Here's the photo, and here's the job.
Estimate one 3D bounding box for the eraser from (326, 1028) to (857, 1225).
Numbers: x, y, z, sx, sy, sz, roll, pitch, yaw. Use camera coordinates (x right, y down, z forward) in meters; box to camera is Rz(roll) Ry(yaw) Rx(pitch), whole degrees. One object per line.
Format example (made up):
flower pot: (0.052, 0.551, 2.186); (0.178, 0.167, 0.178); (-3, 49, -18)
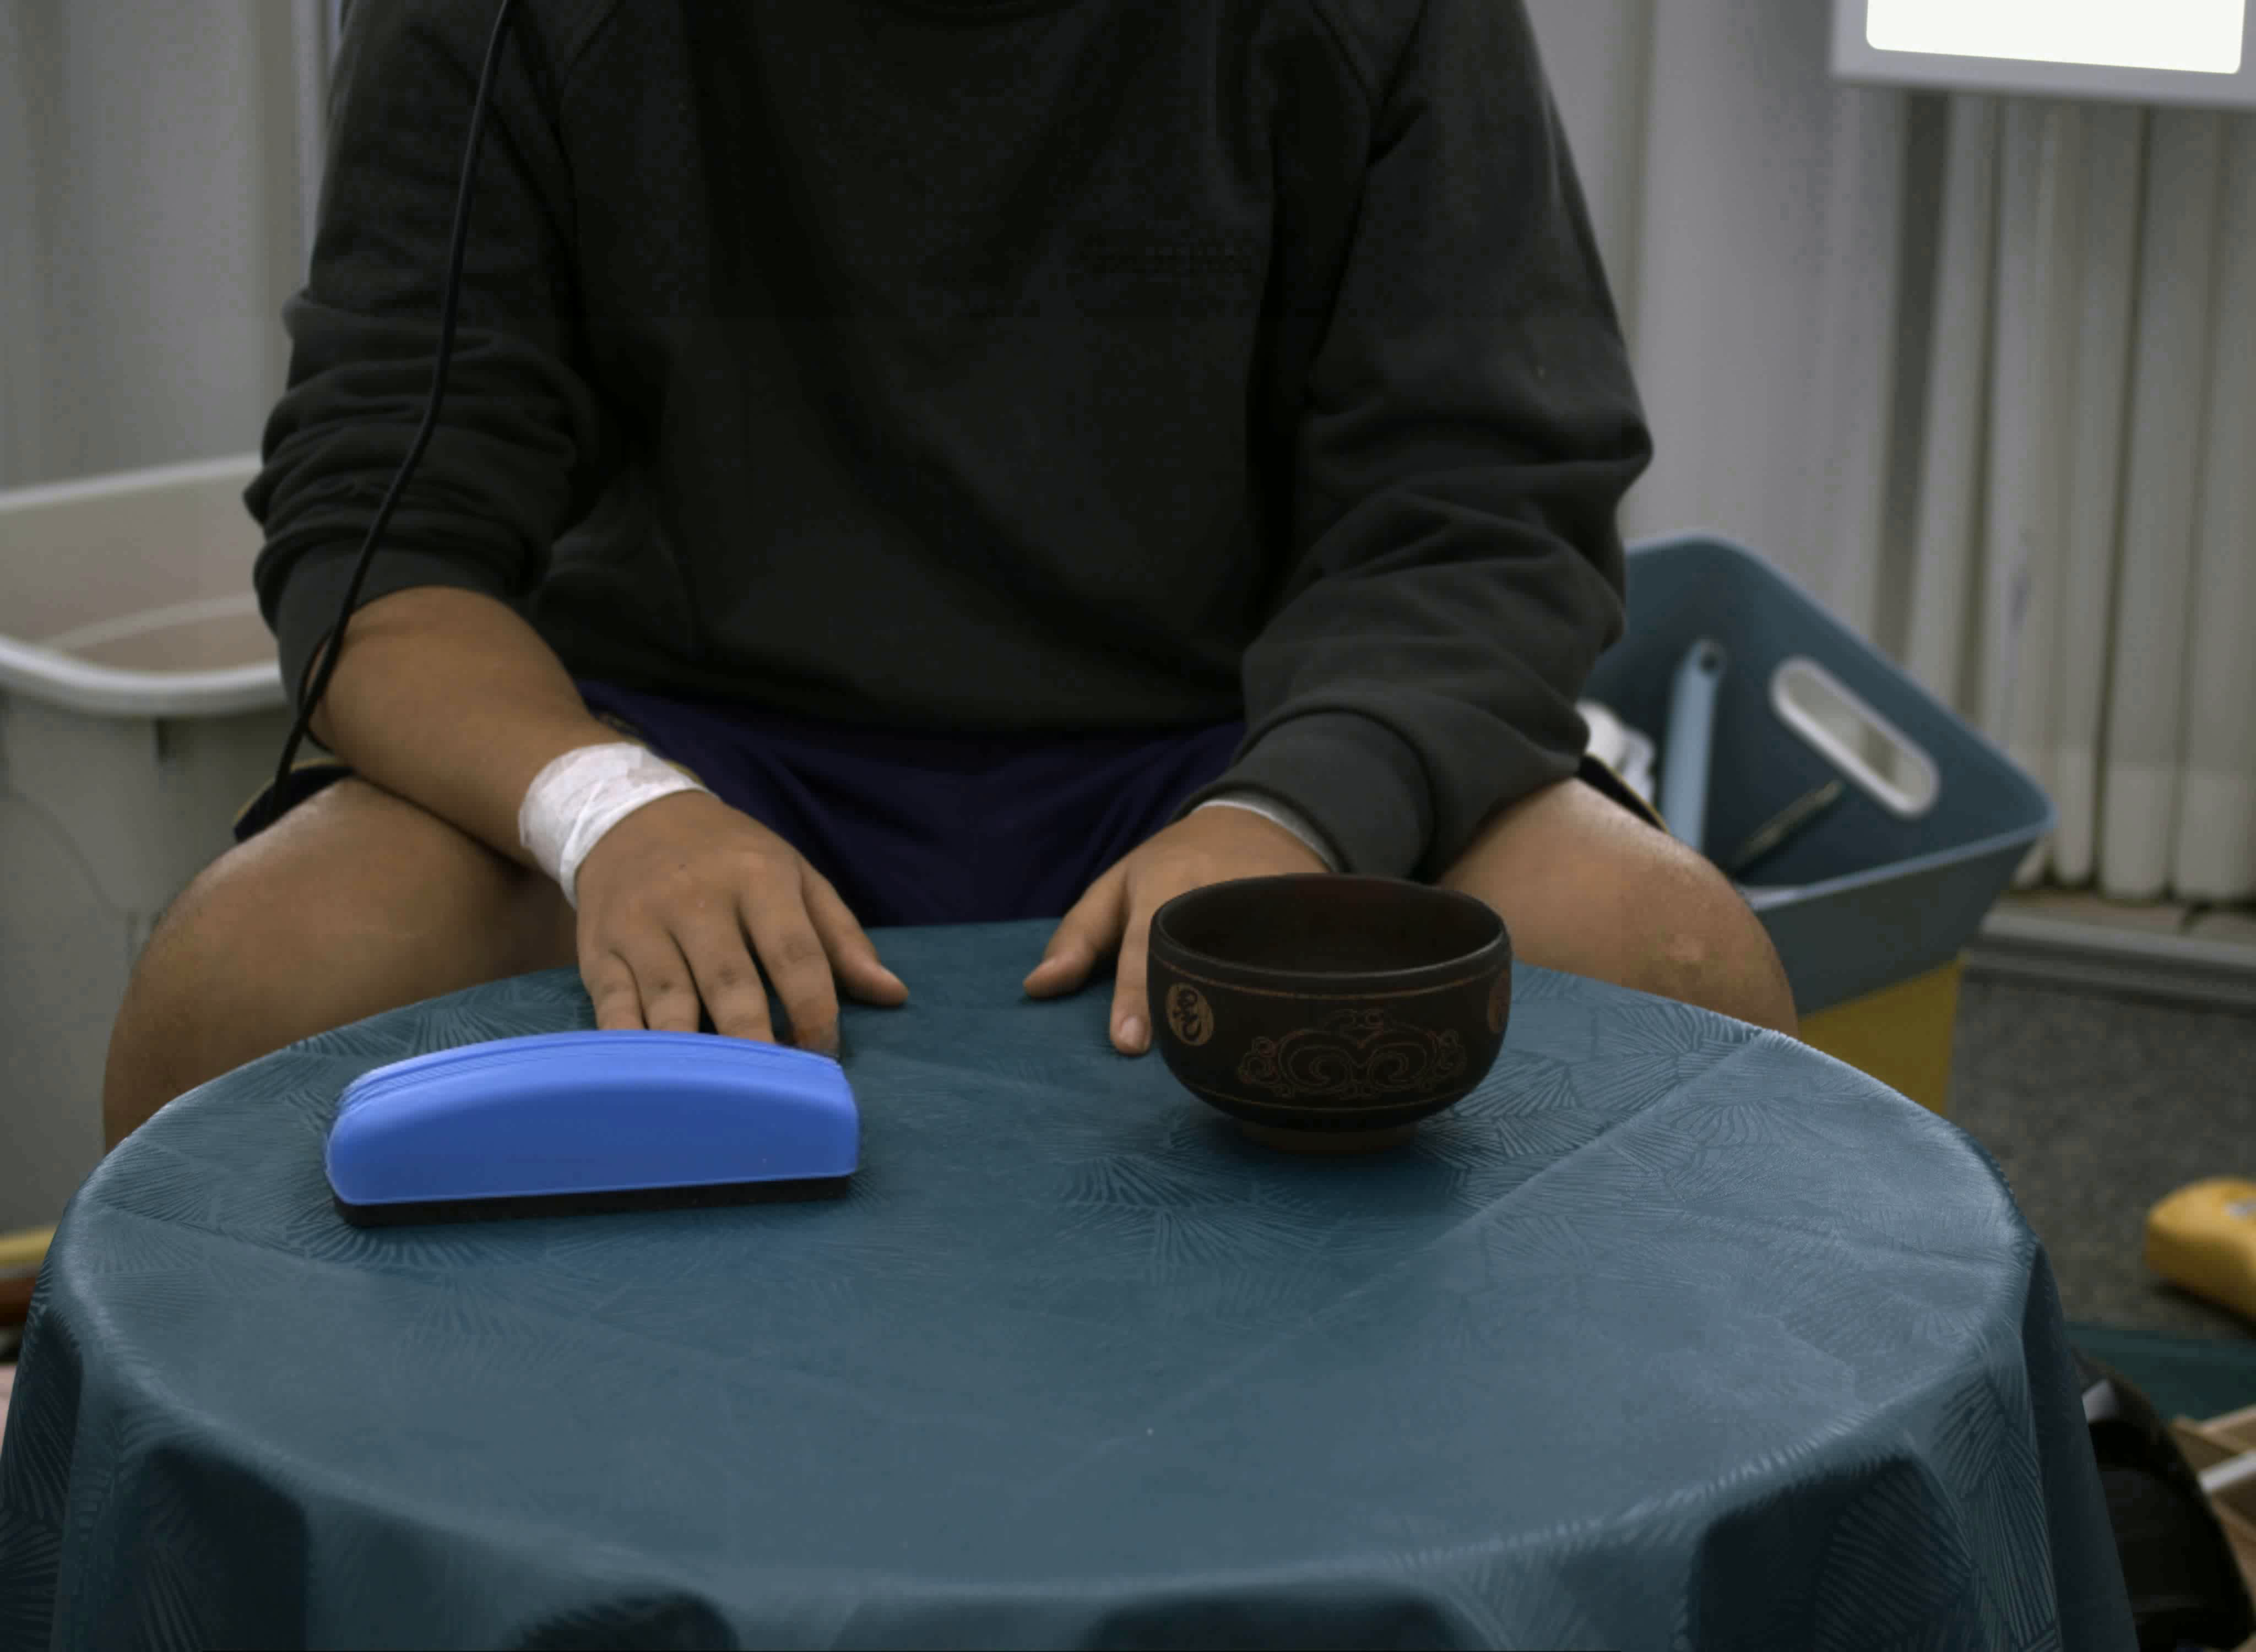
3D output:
eraser: (-0.164, 0.090, 1.613); (0.162, 0.048, 0.053); (-3, 18, -13)

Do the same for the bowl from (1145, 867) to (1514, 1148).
bowl: (0.064, 0.061, 1.671); (0.117, 0.070, 0.117); (0, 15, 1)
